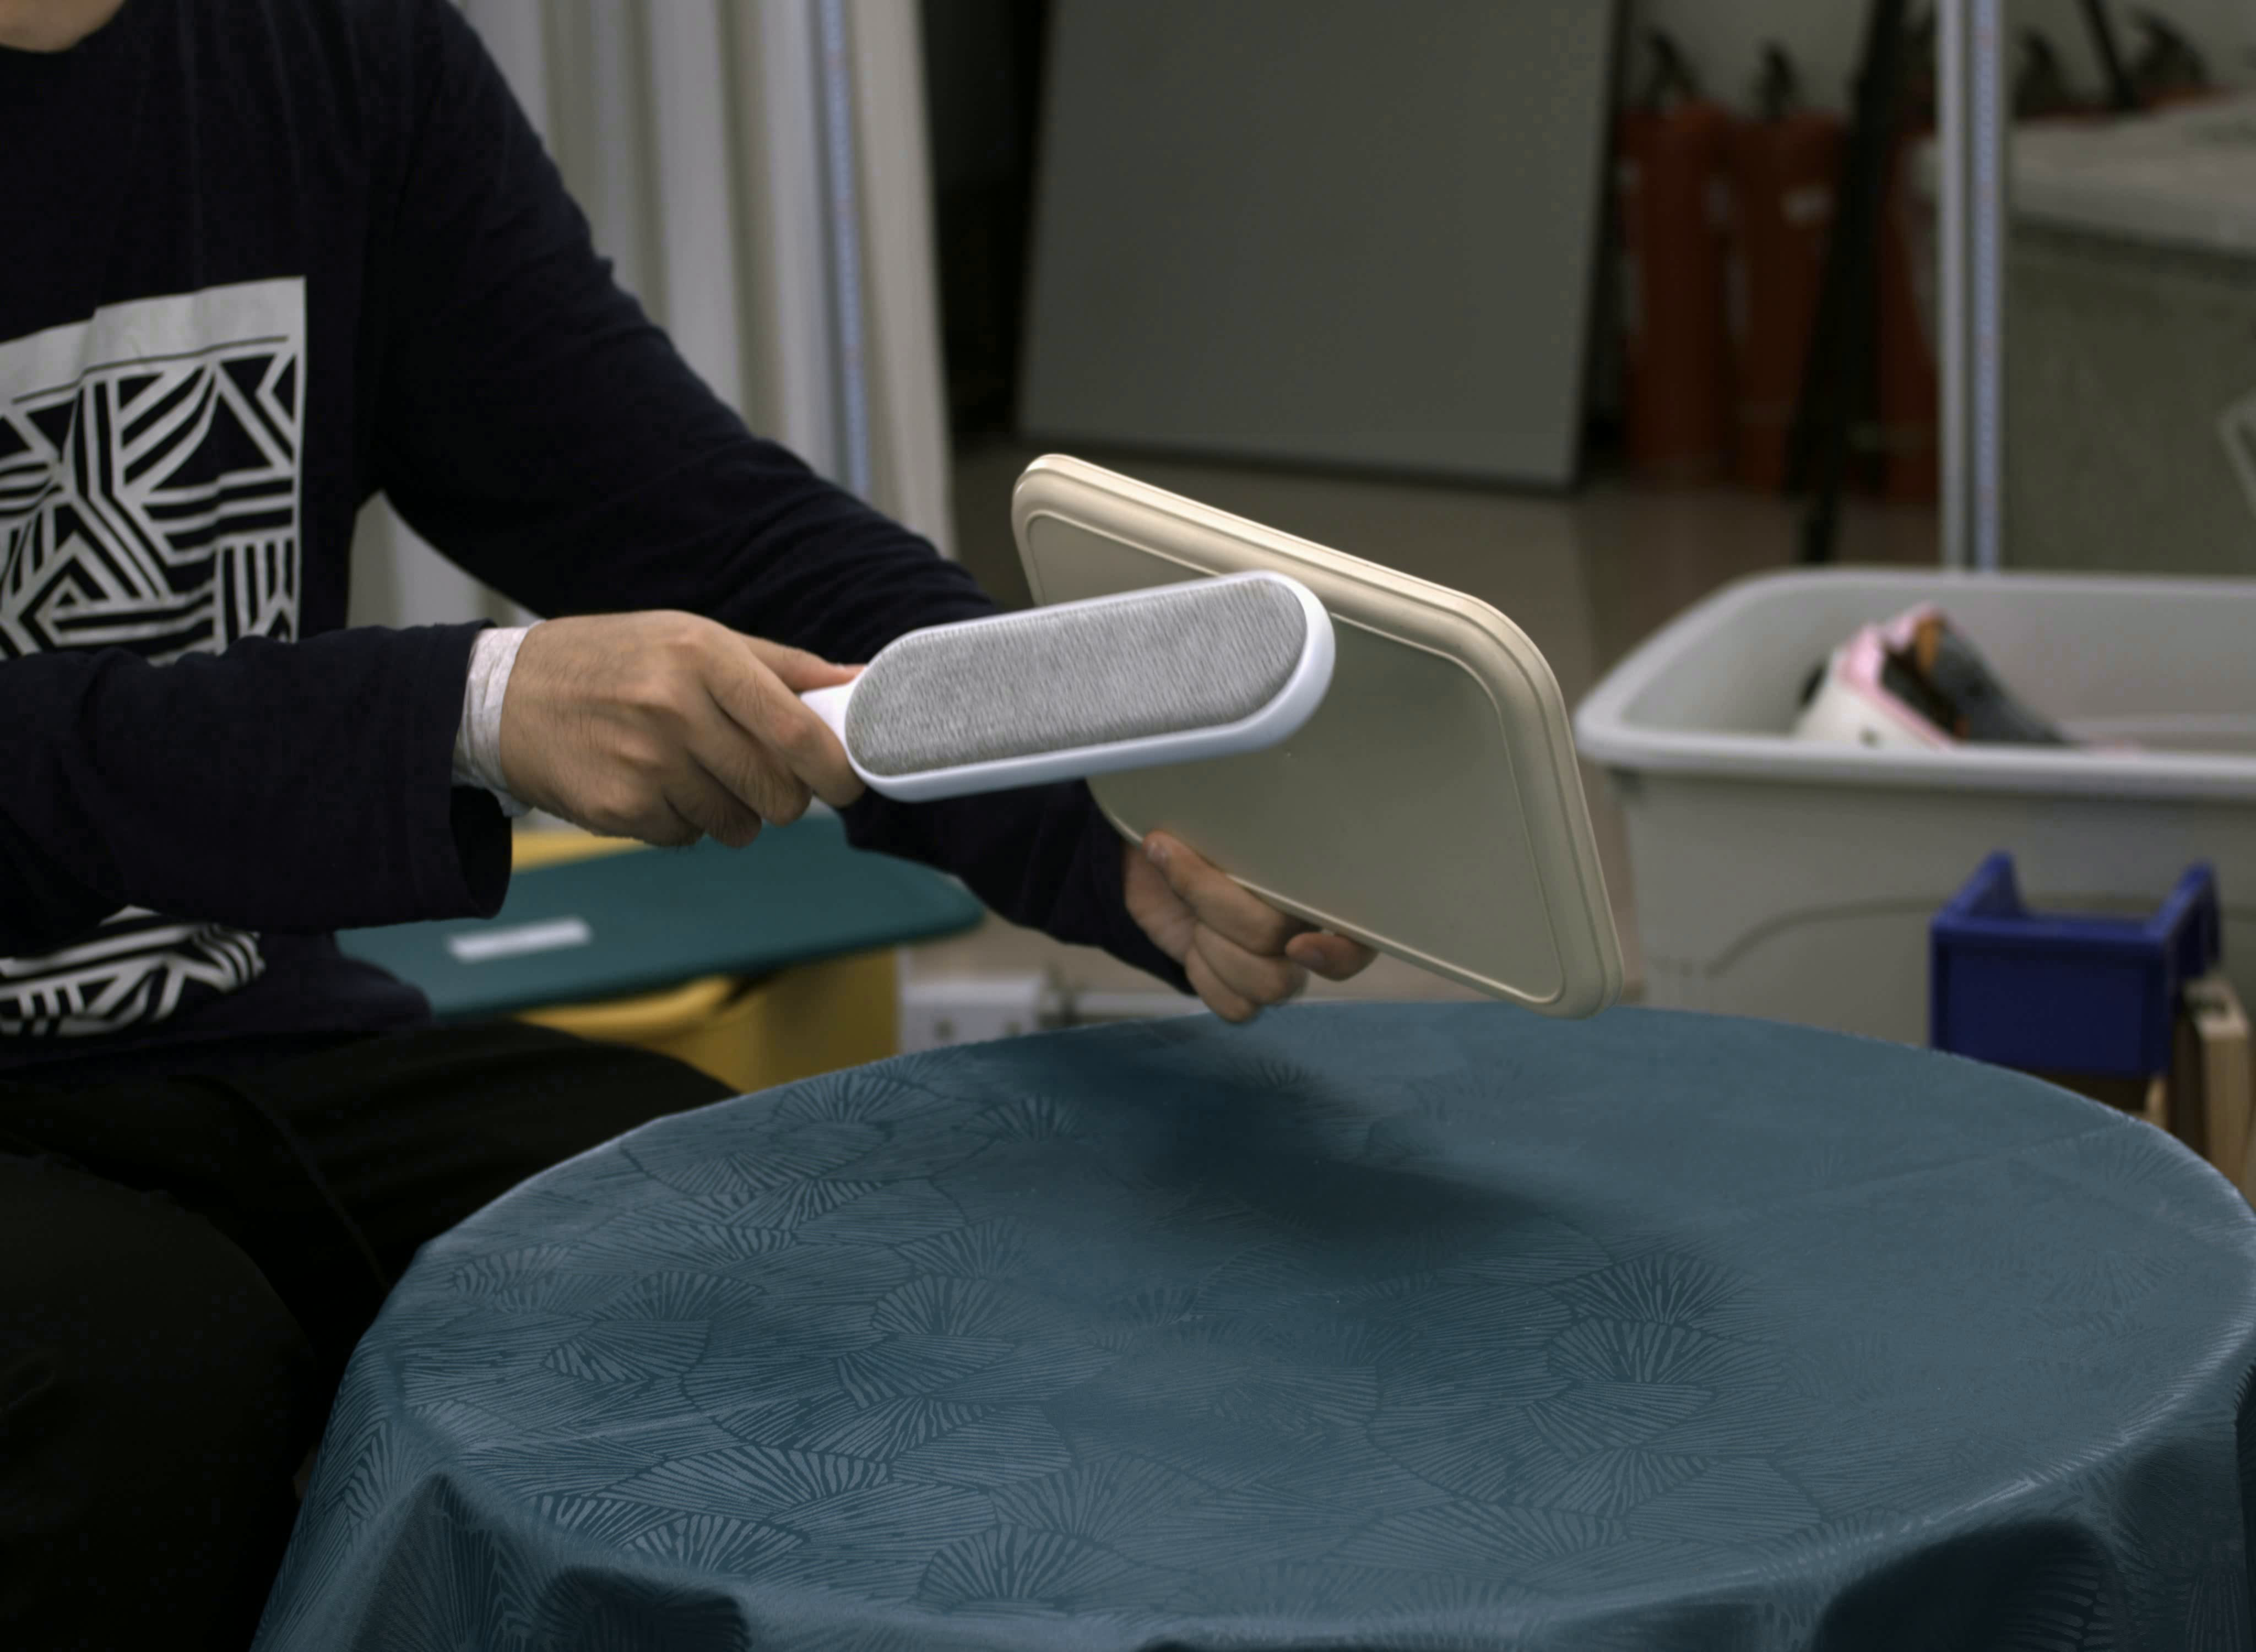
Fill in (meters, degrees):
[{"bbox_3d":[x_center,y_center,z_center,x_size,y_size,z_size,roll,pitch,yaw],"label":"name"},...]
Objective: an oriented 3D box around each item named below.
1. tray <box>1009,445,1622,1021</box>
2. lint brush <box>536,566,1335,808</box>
[{"bbox_3d":[0.056,-0.028,1.756,0.242,0.171,0.017,22,50,41],"label":"tray"},{"bbox_3d":[-0.066,-0.037,1.697,0.310,0.061,0.020,-8,-24,35],"label":"lint brush"}]
